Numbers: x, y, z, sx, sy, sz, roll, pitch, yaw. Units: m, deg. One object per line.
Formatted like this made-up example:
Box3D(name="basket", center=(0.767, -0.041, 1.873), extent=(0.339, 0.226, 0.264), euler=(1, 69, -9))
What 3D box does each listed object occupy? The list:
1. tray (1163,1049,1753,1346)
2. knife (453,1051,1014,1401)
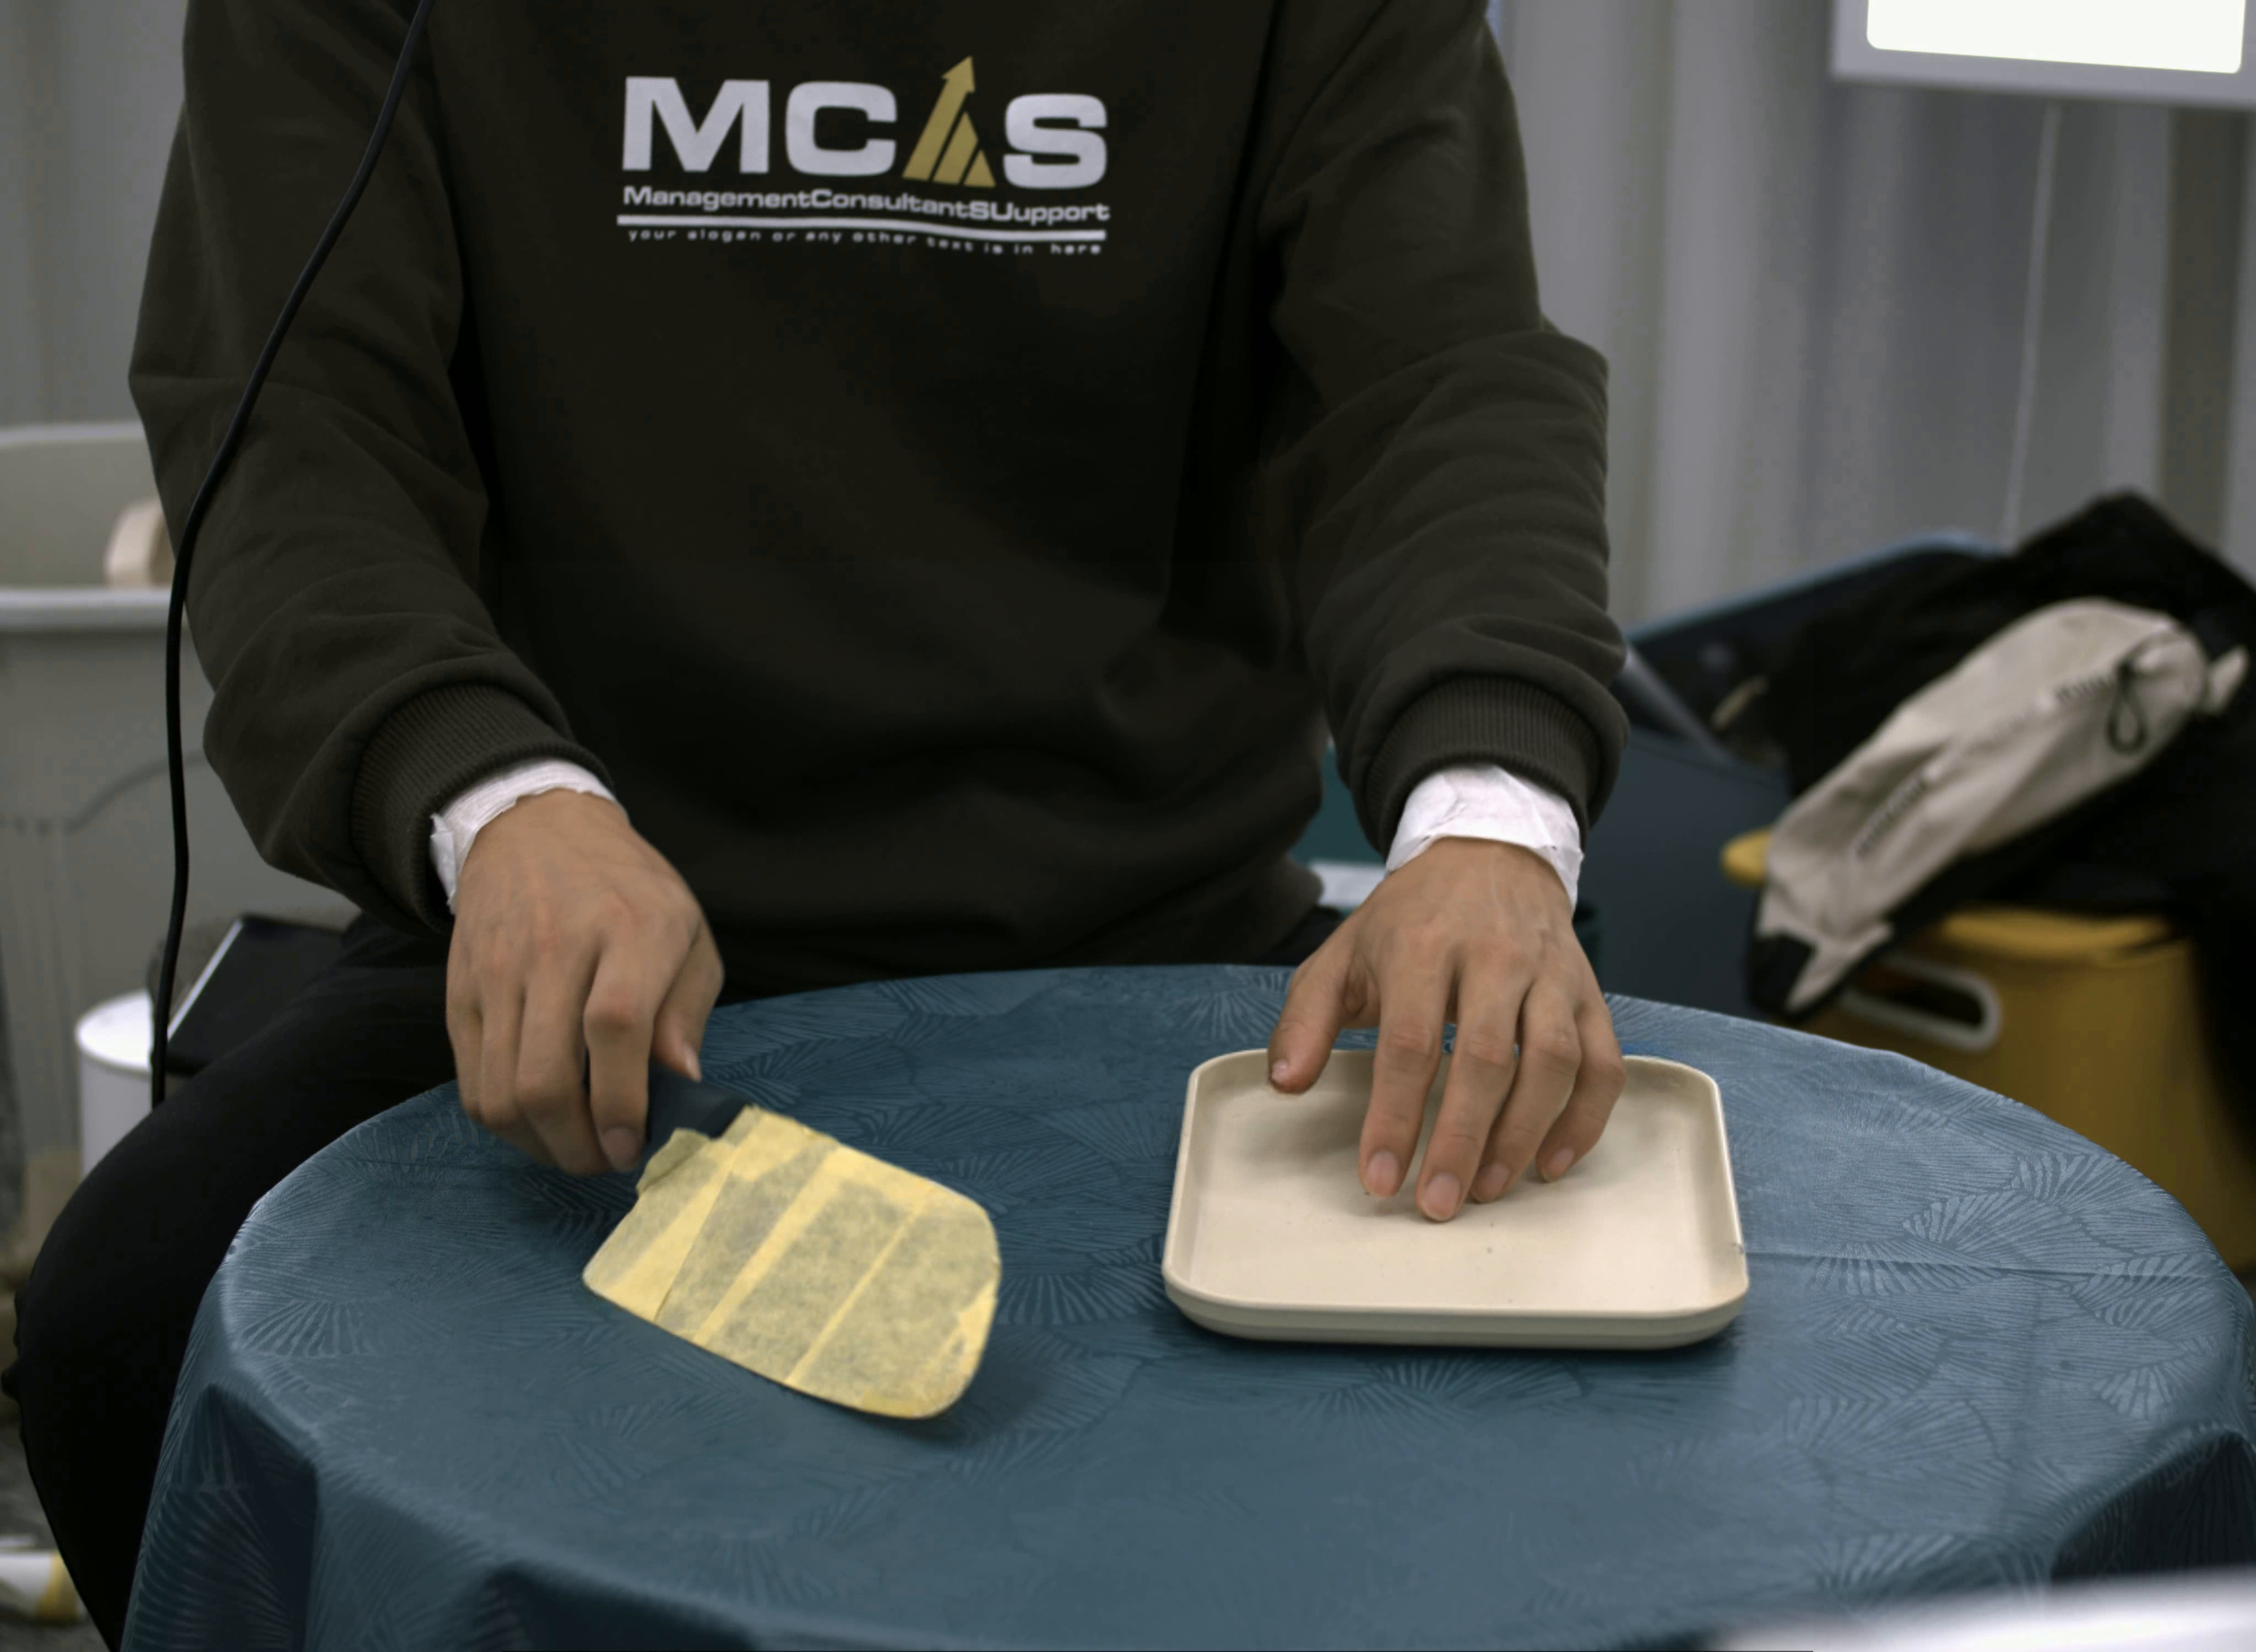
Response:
Box3D(name="tray", center=(0.099, 0.111, 1.597), extent=(0.170, 0.017, 0.238), euler=(1, 15, 3))
Box3D(name="knife", center=(-0.124, 0.114, 1.532), extent=(0.081, 0.027, 0.285), euler=(-46, 35, -19))
